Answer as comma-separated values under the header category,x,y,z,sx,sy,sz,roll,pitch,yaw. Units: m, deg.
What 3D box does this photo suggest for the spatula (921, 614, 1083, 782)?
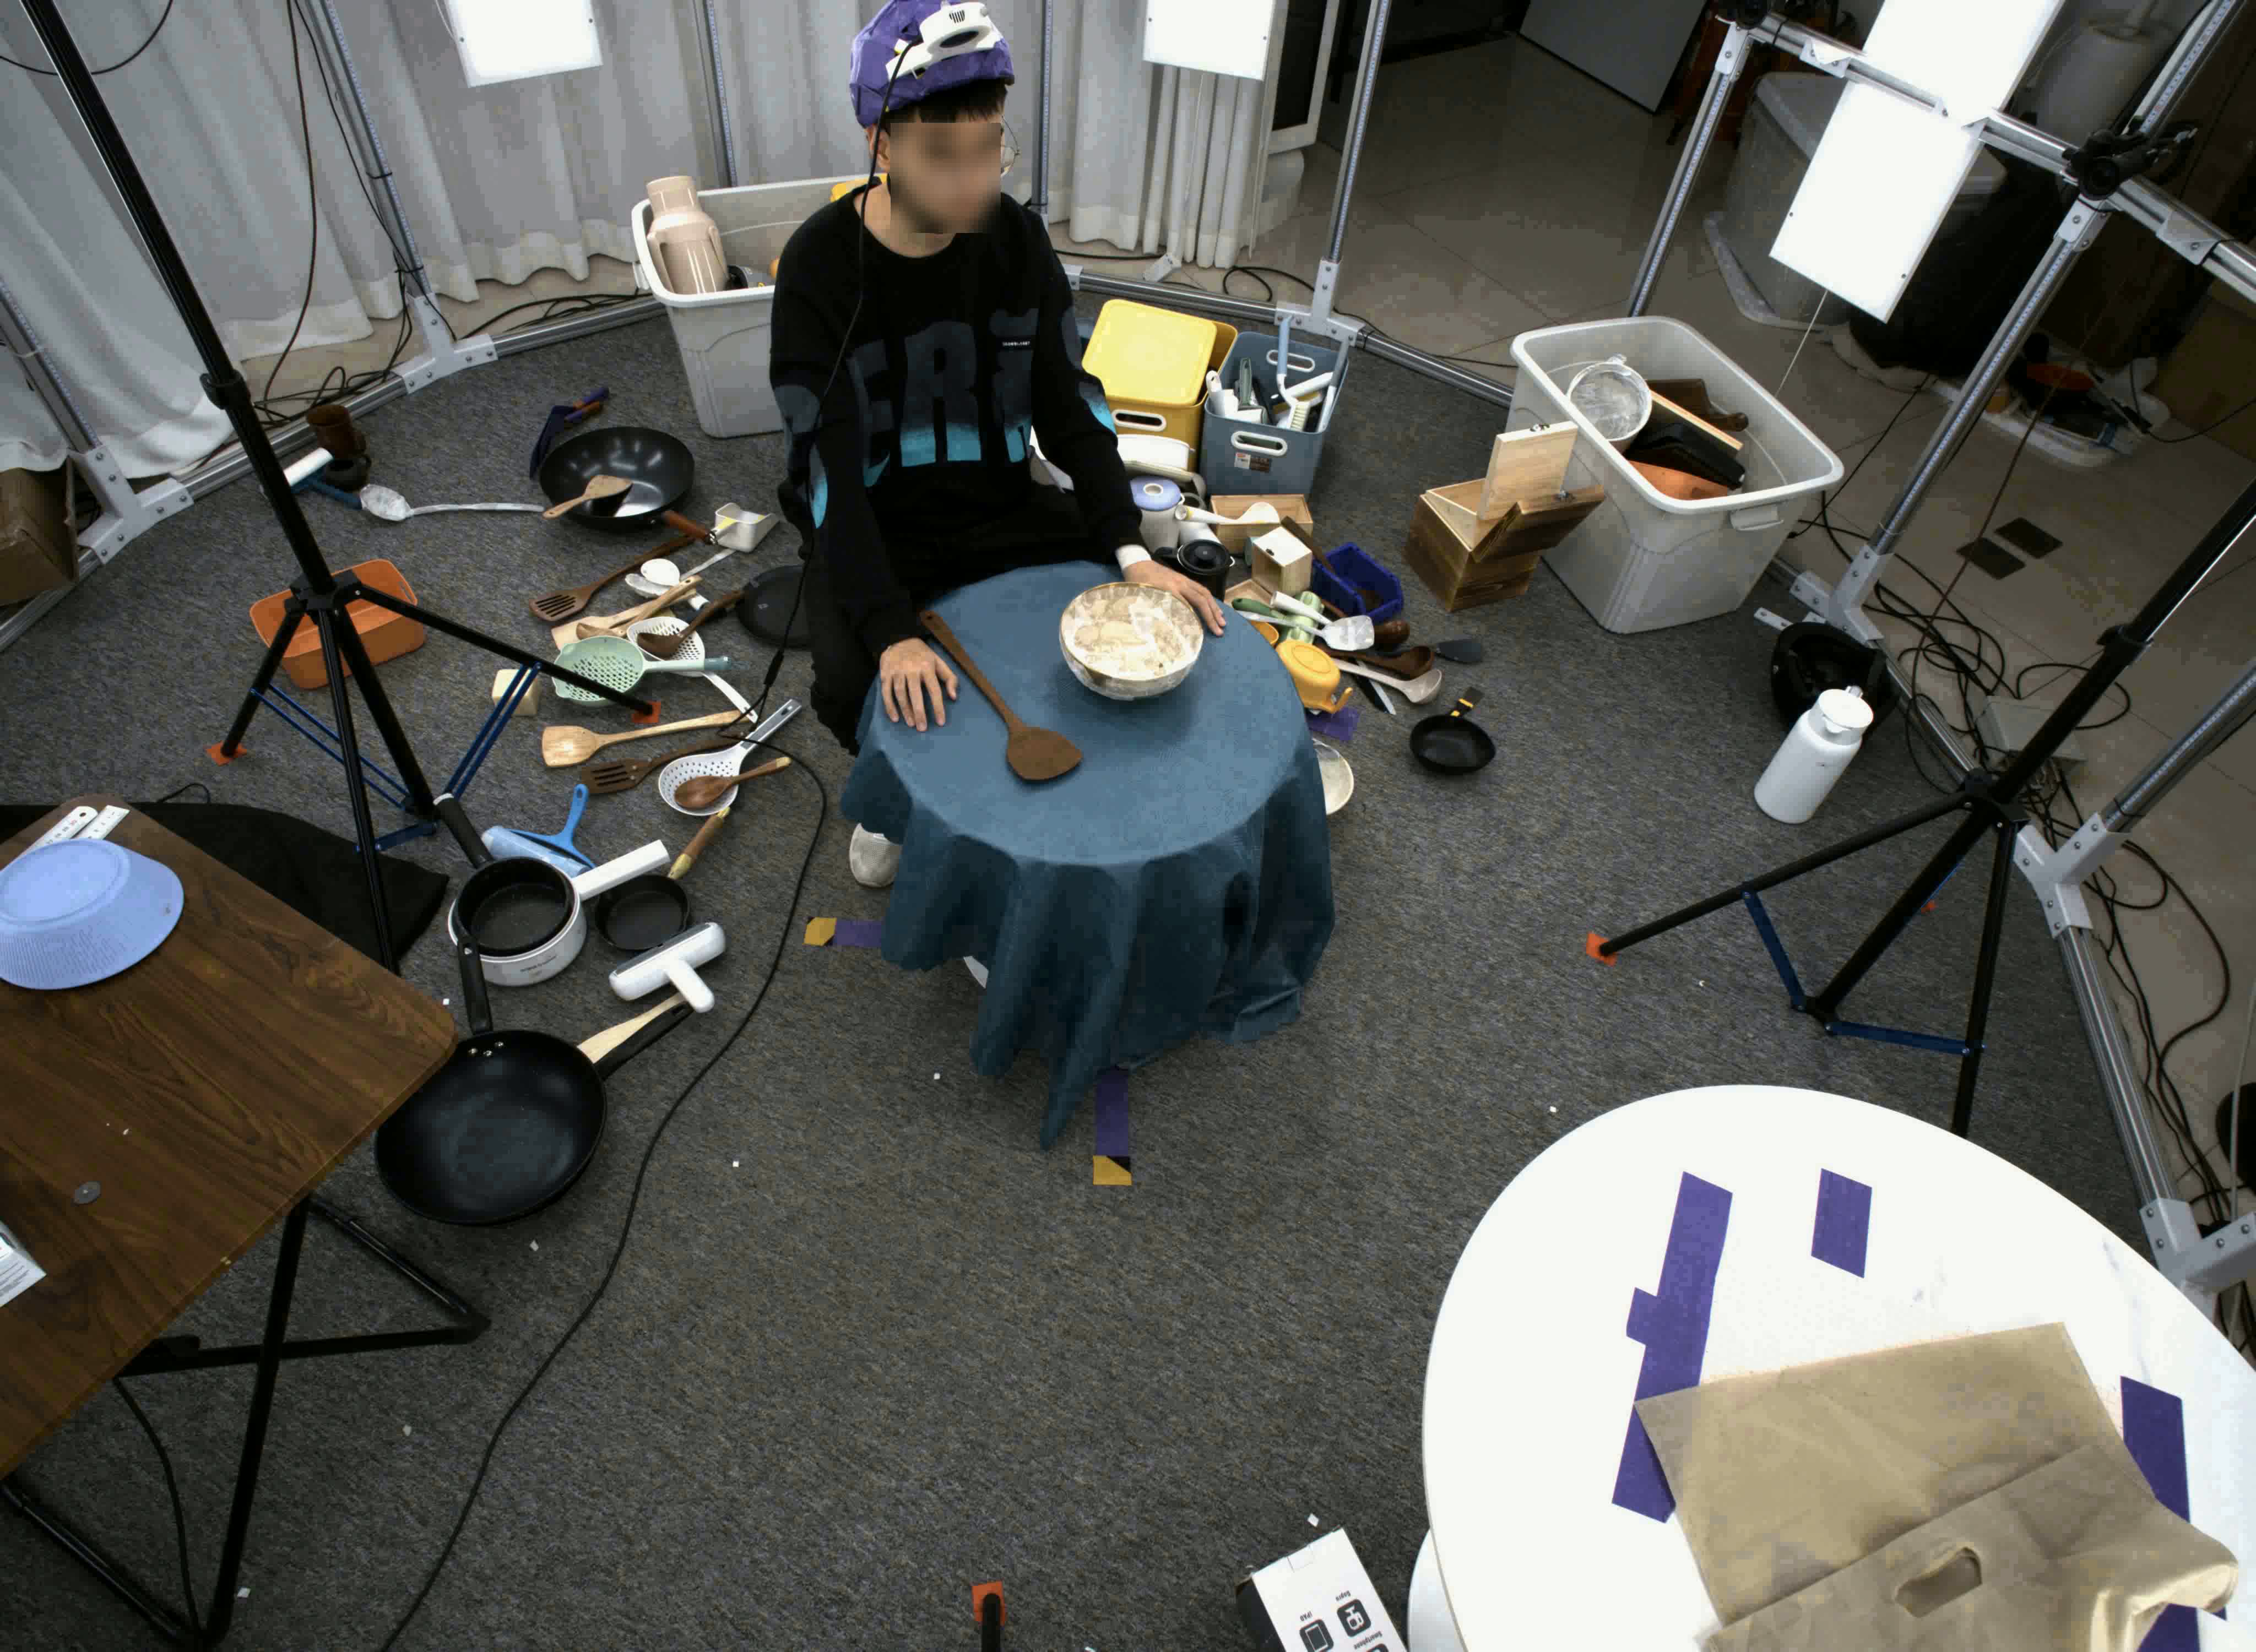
category,x,y,z,sx,sy,sz,roll,pitch,yaw
spatula,-0.197,-0.193,1.830,0.096,0.015,0.394,-24,54,-23

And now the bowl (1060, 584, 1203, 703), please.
category,x,y,z,sx,sy,sz,roll,pitch,yaw
bowl,0.004,-0.248,1.841,0.214,0.092,0.220,0,48,-1
